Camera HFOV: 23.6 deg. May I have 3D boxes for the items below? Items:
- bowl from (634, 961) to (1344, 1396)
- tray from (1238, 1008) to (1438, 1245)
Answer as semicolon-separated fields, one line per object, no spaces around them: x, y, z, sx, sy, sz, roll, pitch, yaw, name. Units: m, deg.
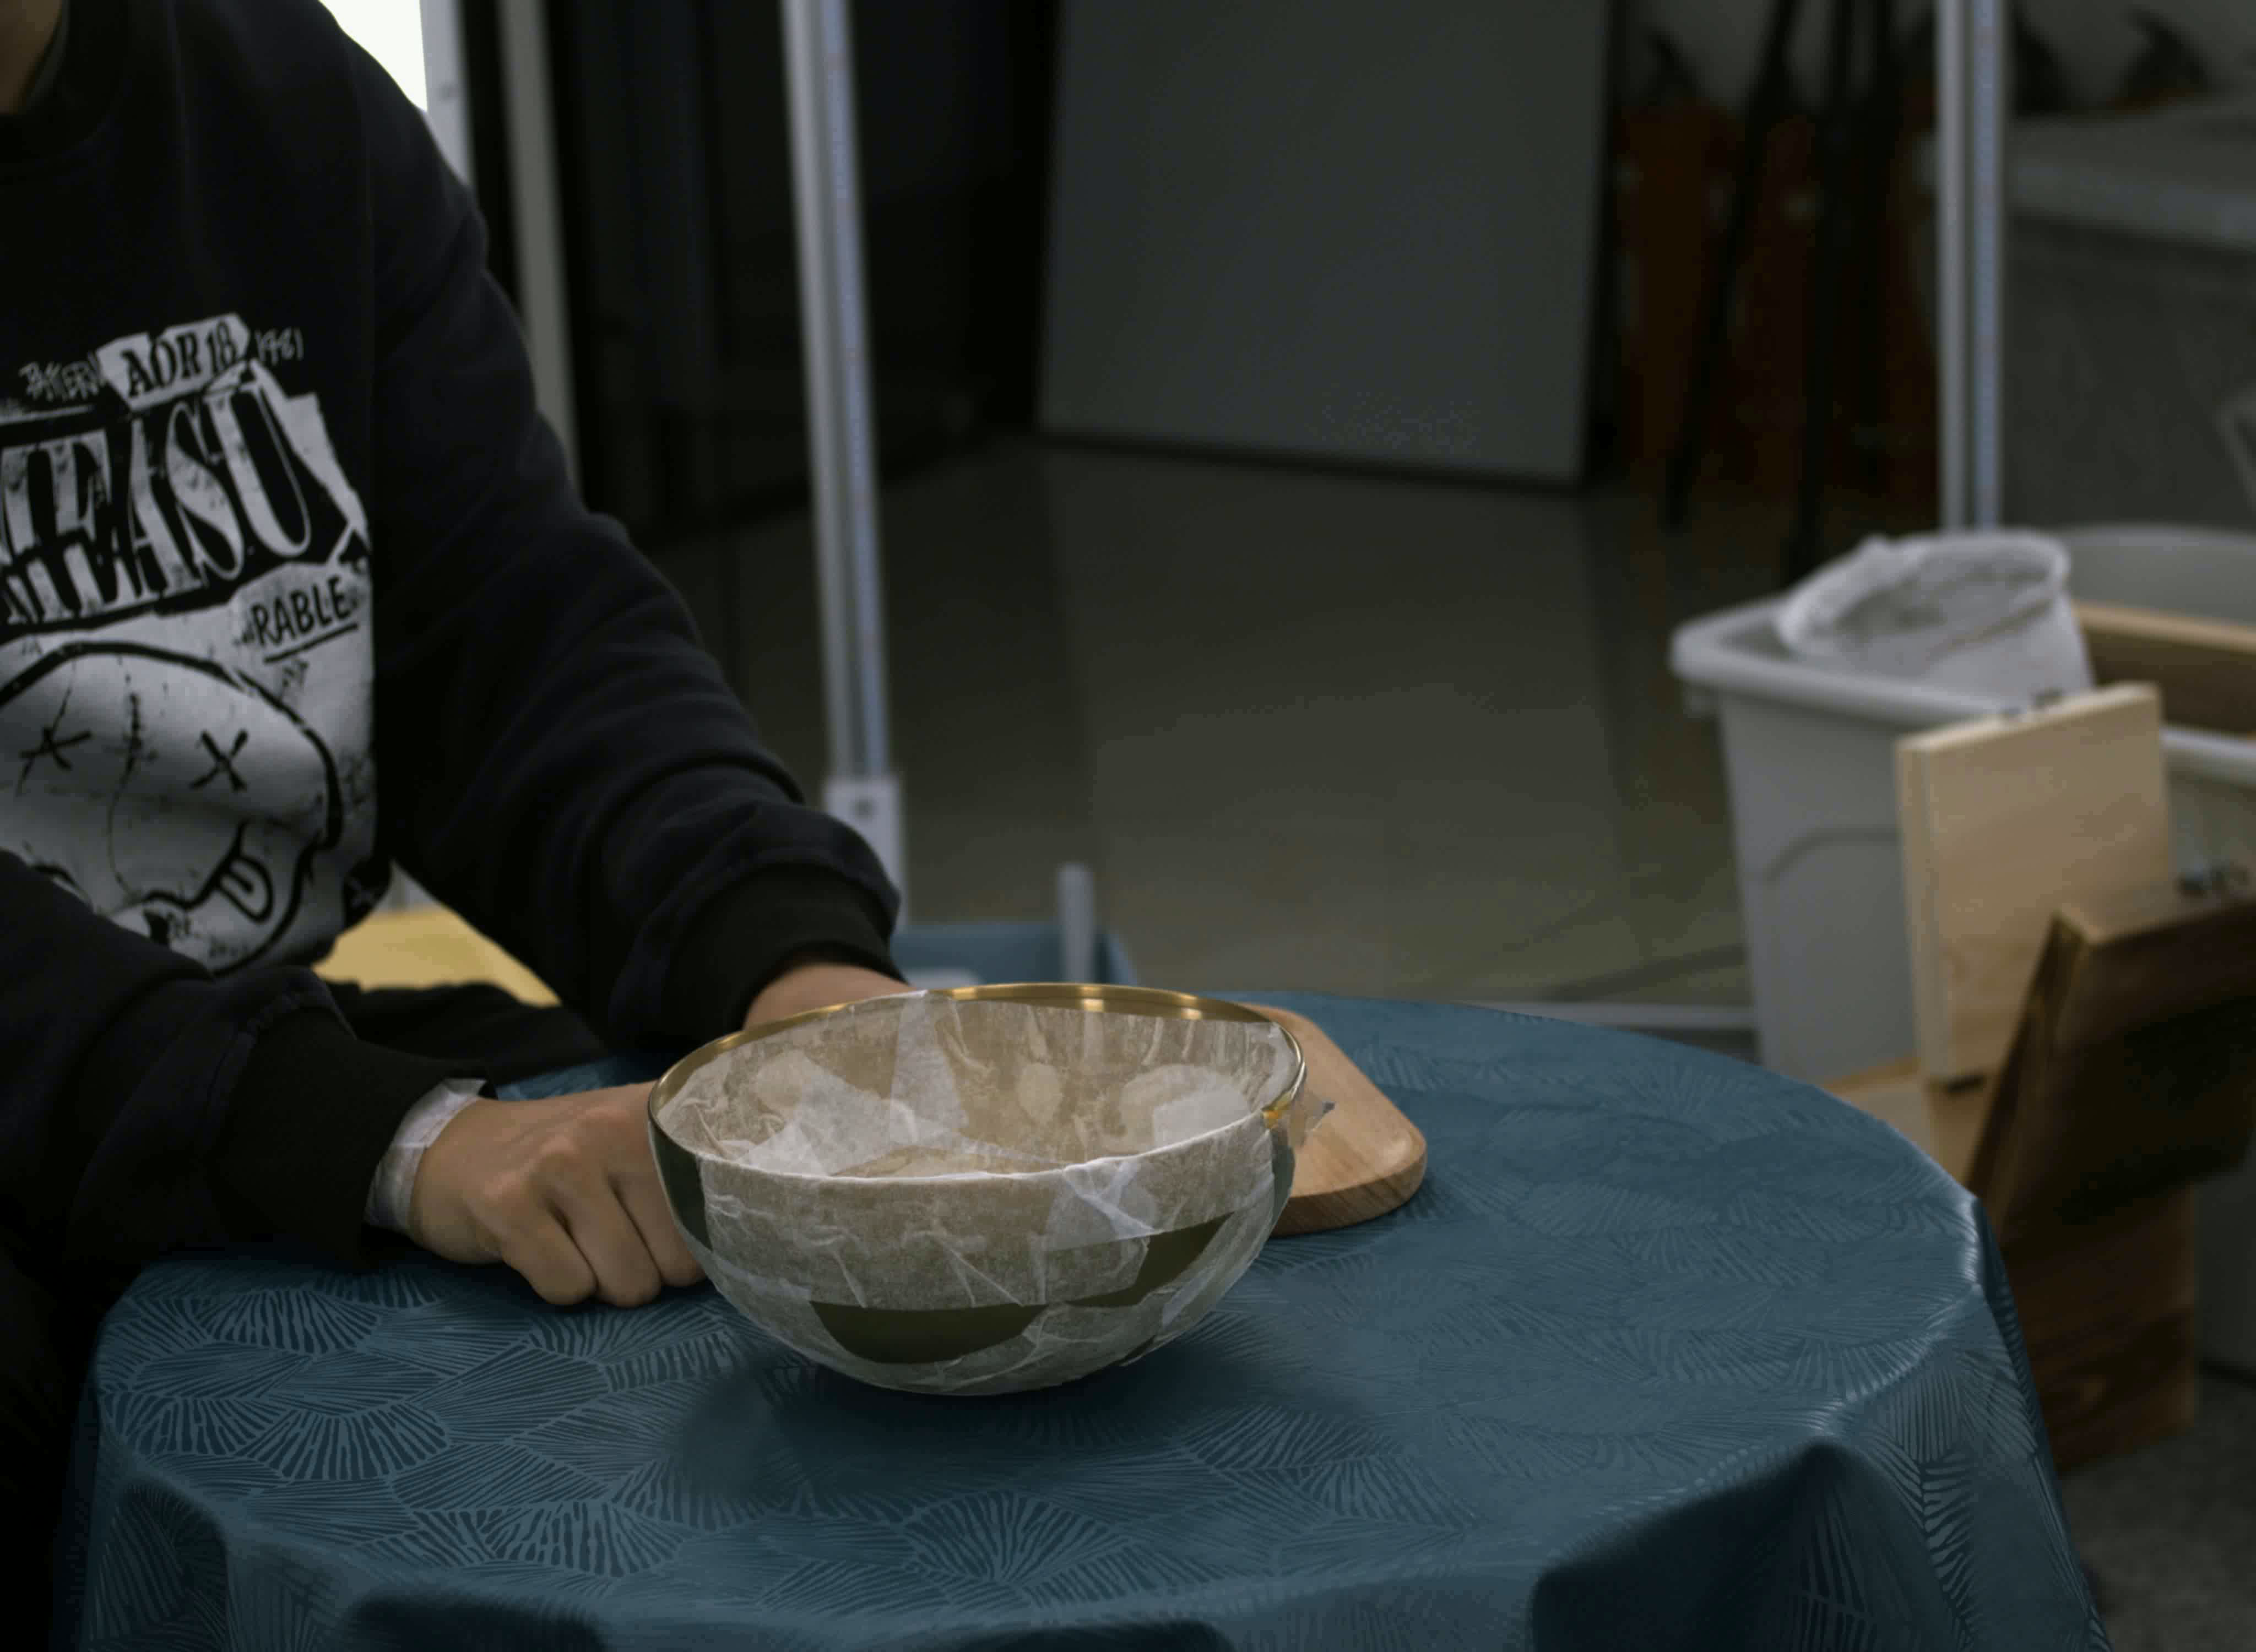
-0.039;0.114;1.615;0.212;0.095;0.215;-5;15;0;bowl
0.035;0.099;1.818;0.100;0.020;0.233;-9;16;-12;tray
